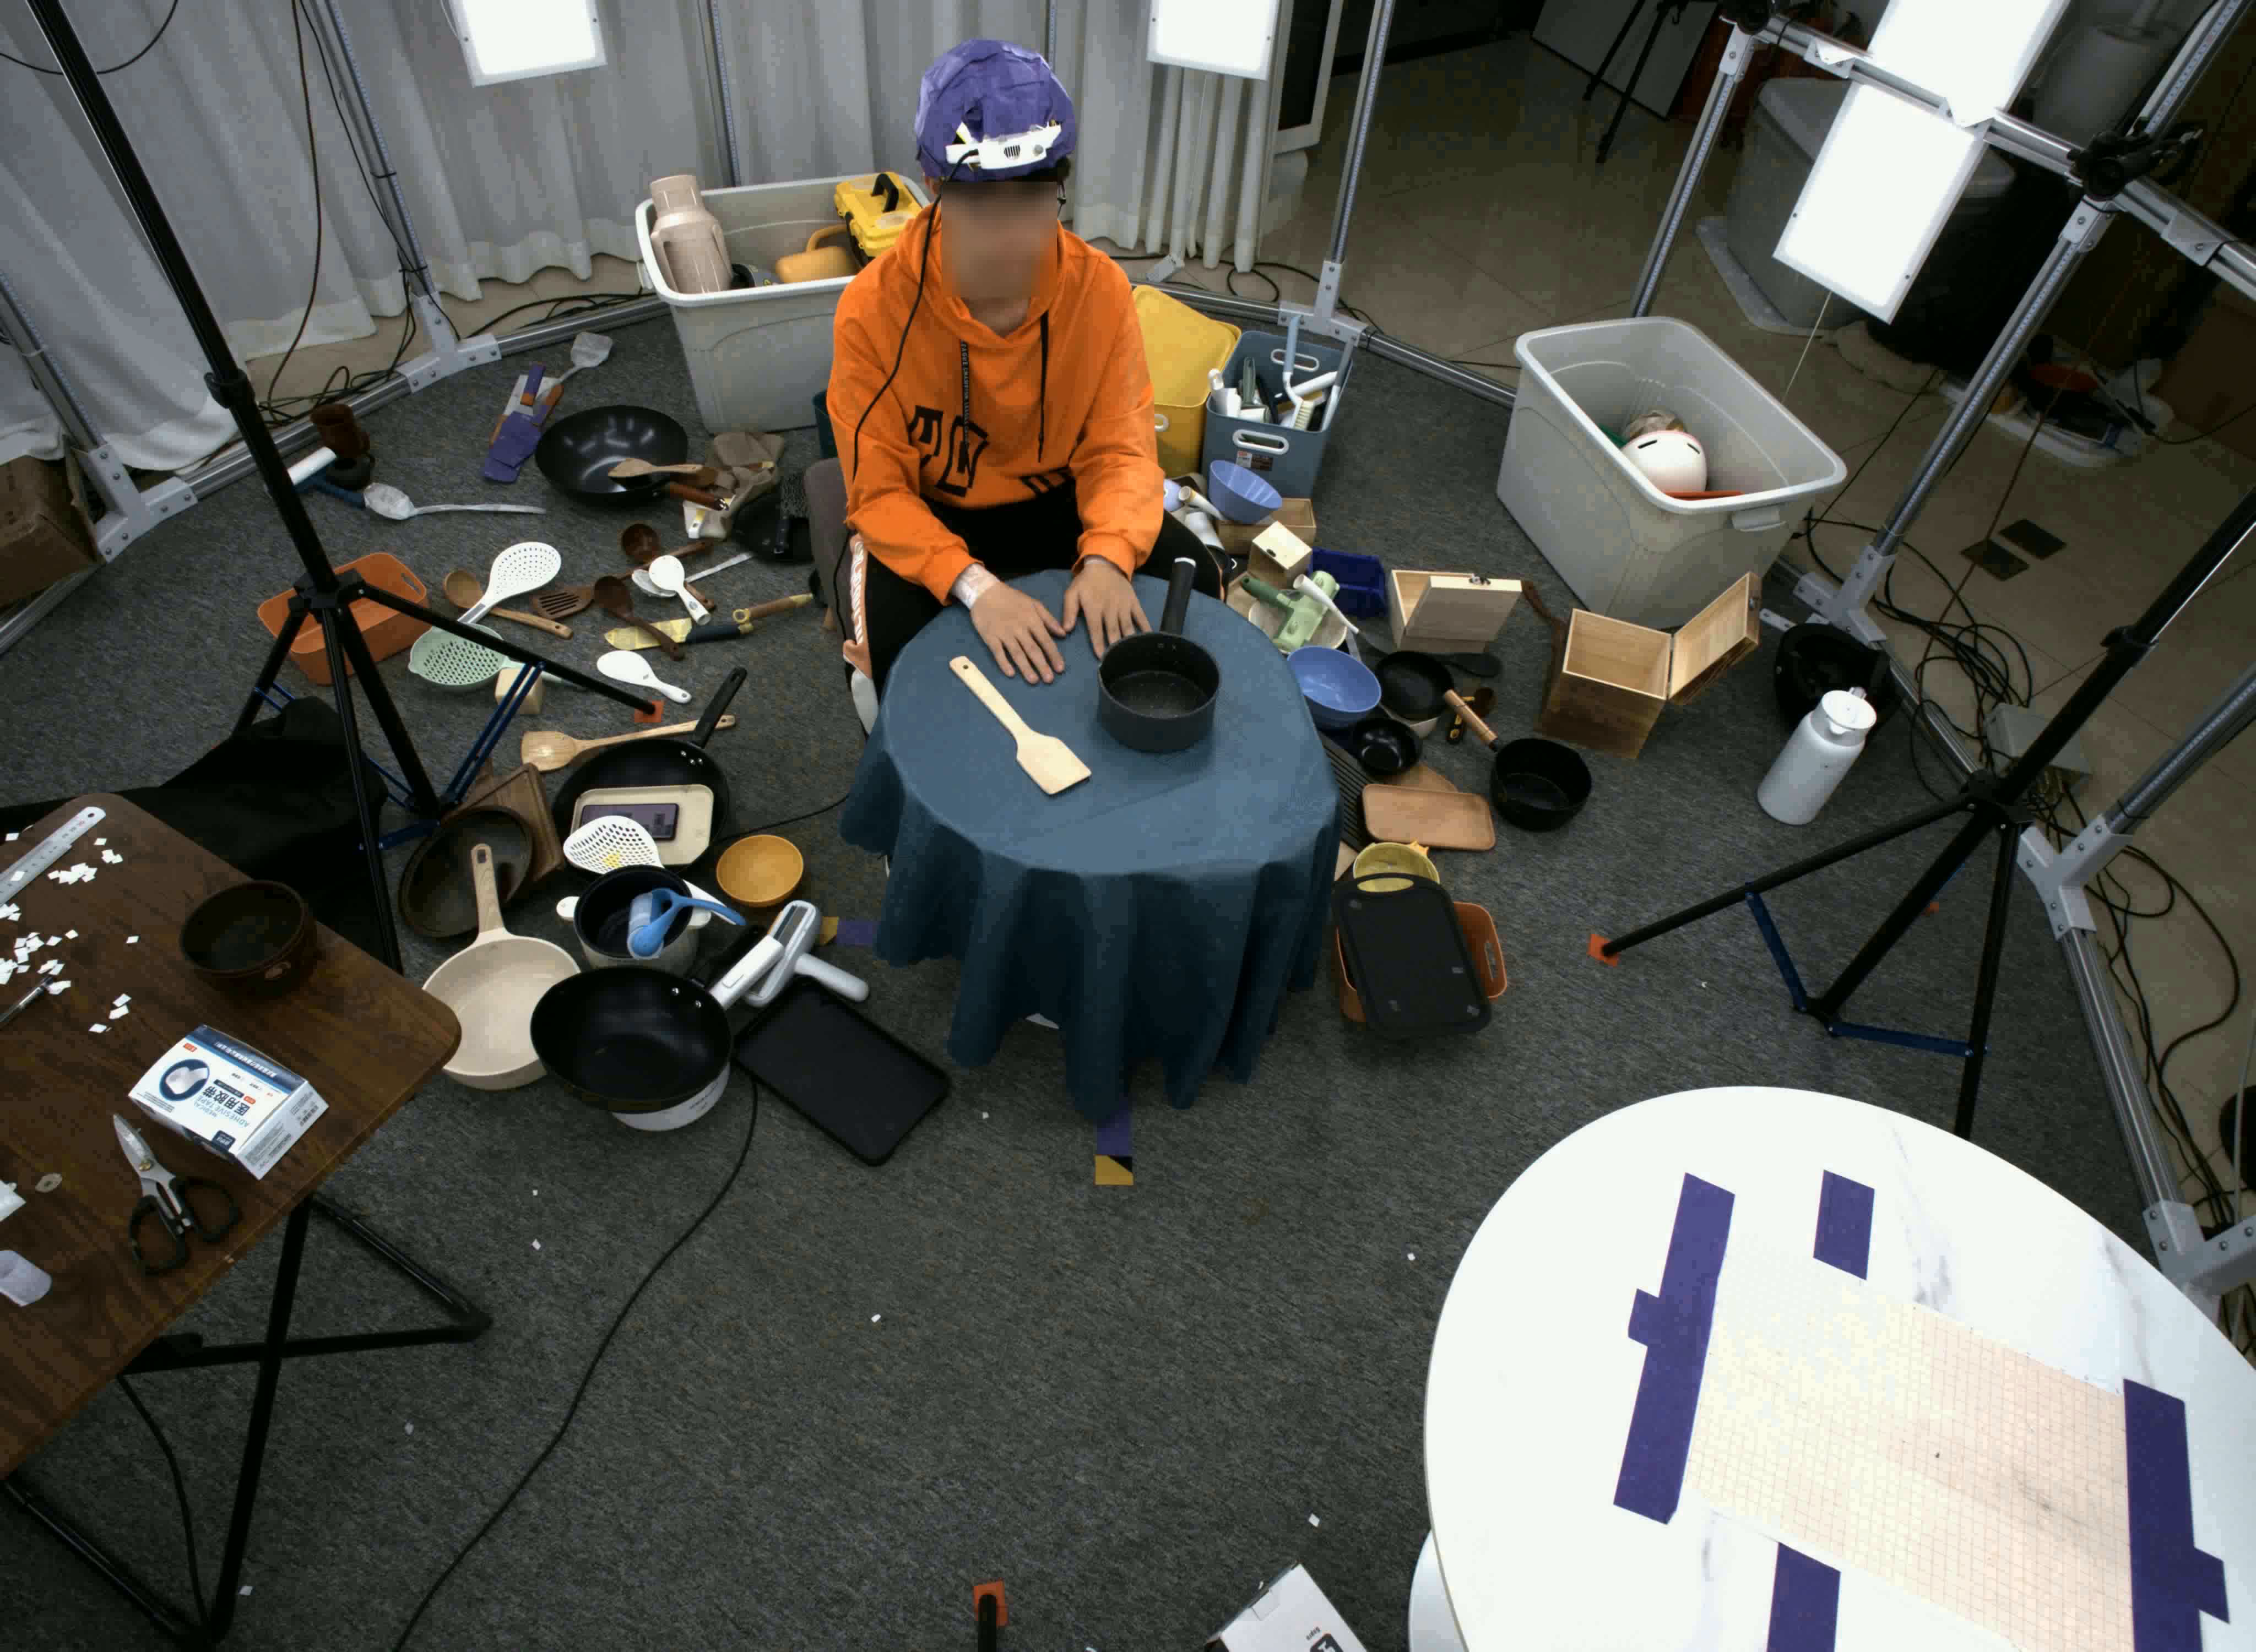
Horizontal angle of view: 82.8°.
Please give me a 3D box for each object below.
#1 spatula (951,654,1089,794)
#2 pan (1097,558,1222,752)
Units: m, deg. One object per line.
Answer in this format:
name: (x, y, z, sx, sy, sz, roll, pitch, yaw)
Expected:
spatula: (-0.163, -0.149, 1.781, 0.072, 0.010, 0.298, -28, 56, -21)
pan: (0.058, -0.248, 1.833, 0.172, 0.084, 0.336, 12, 51, 6)
